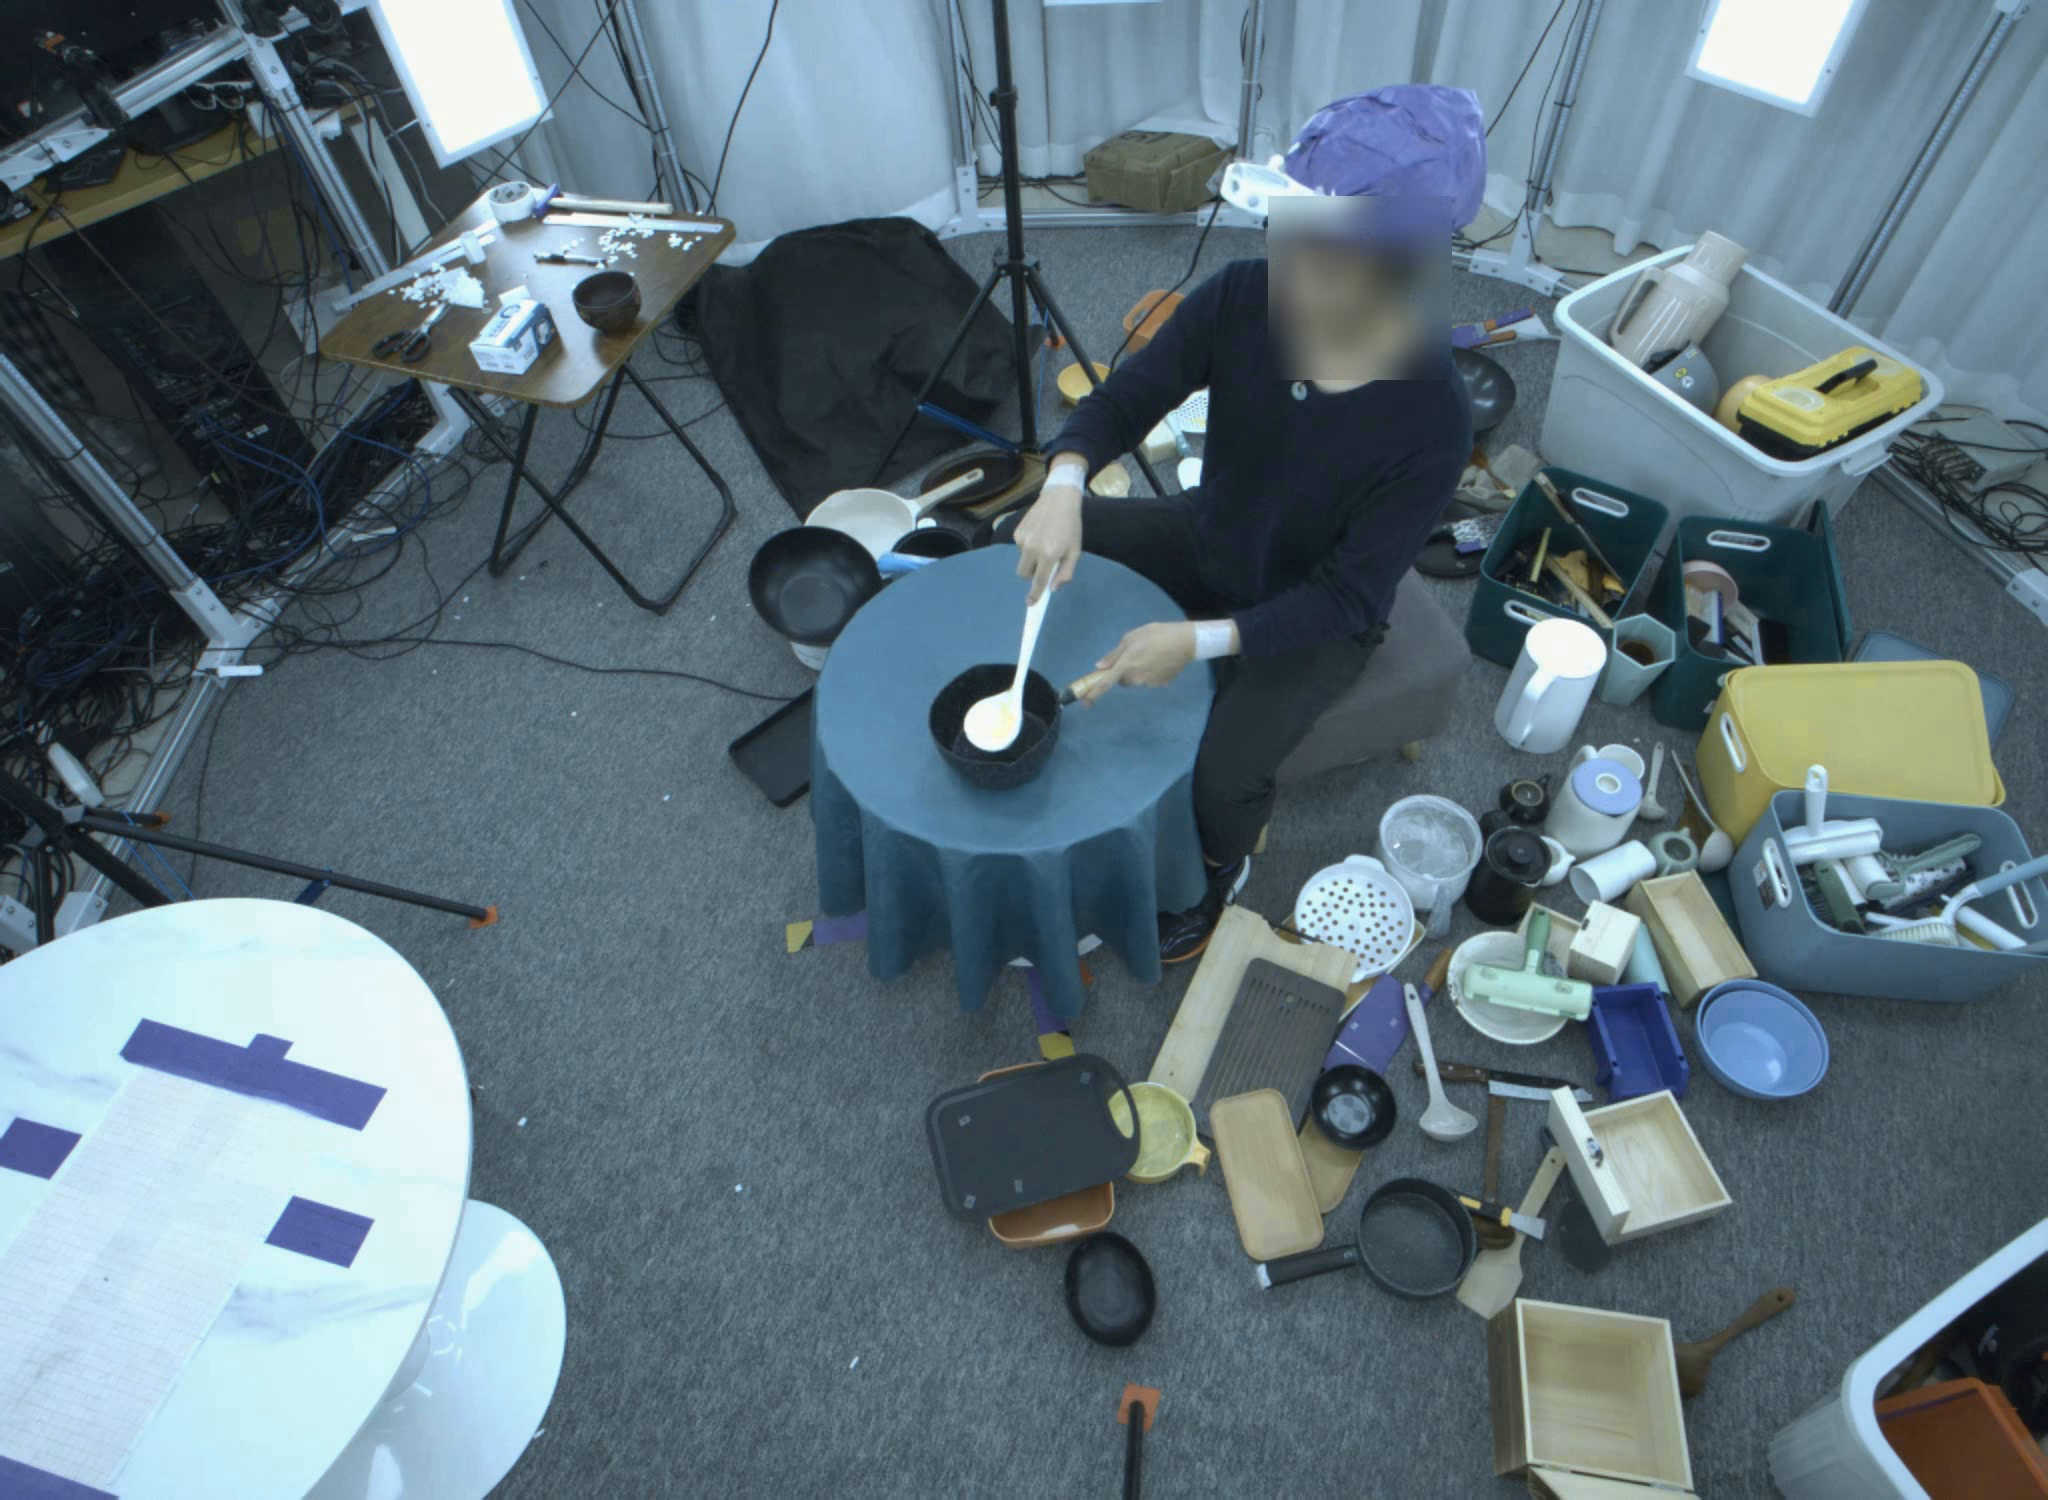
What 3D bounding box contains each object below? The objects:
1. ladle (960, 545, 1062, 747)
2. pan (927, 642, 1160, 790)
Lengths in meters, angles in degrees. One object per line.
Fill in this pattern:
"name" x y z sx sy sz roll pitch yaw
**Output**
"ladle" -0.017 -0.142 1.688 0.071 0.293 0.088 -8 35 -42
"pan" 0.035 -0.062 1.750 0.344 0.110 0.203 -20 51 -6
